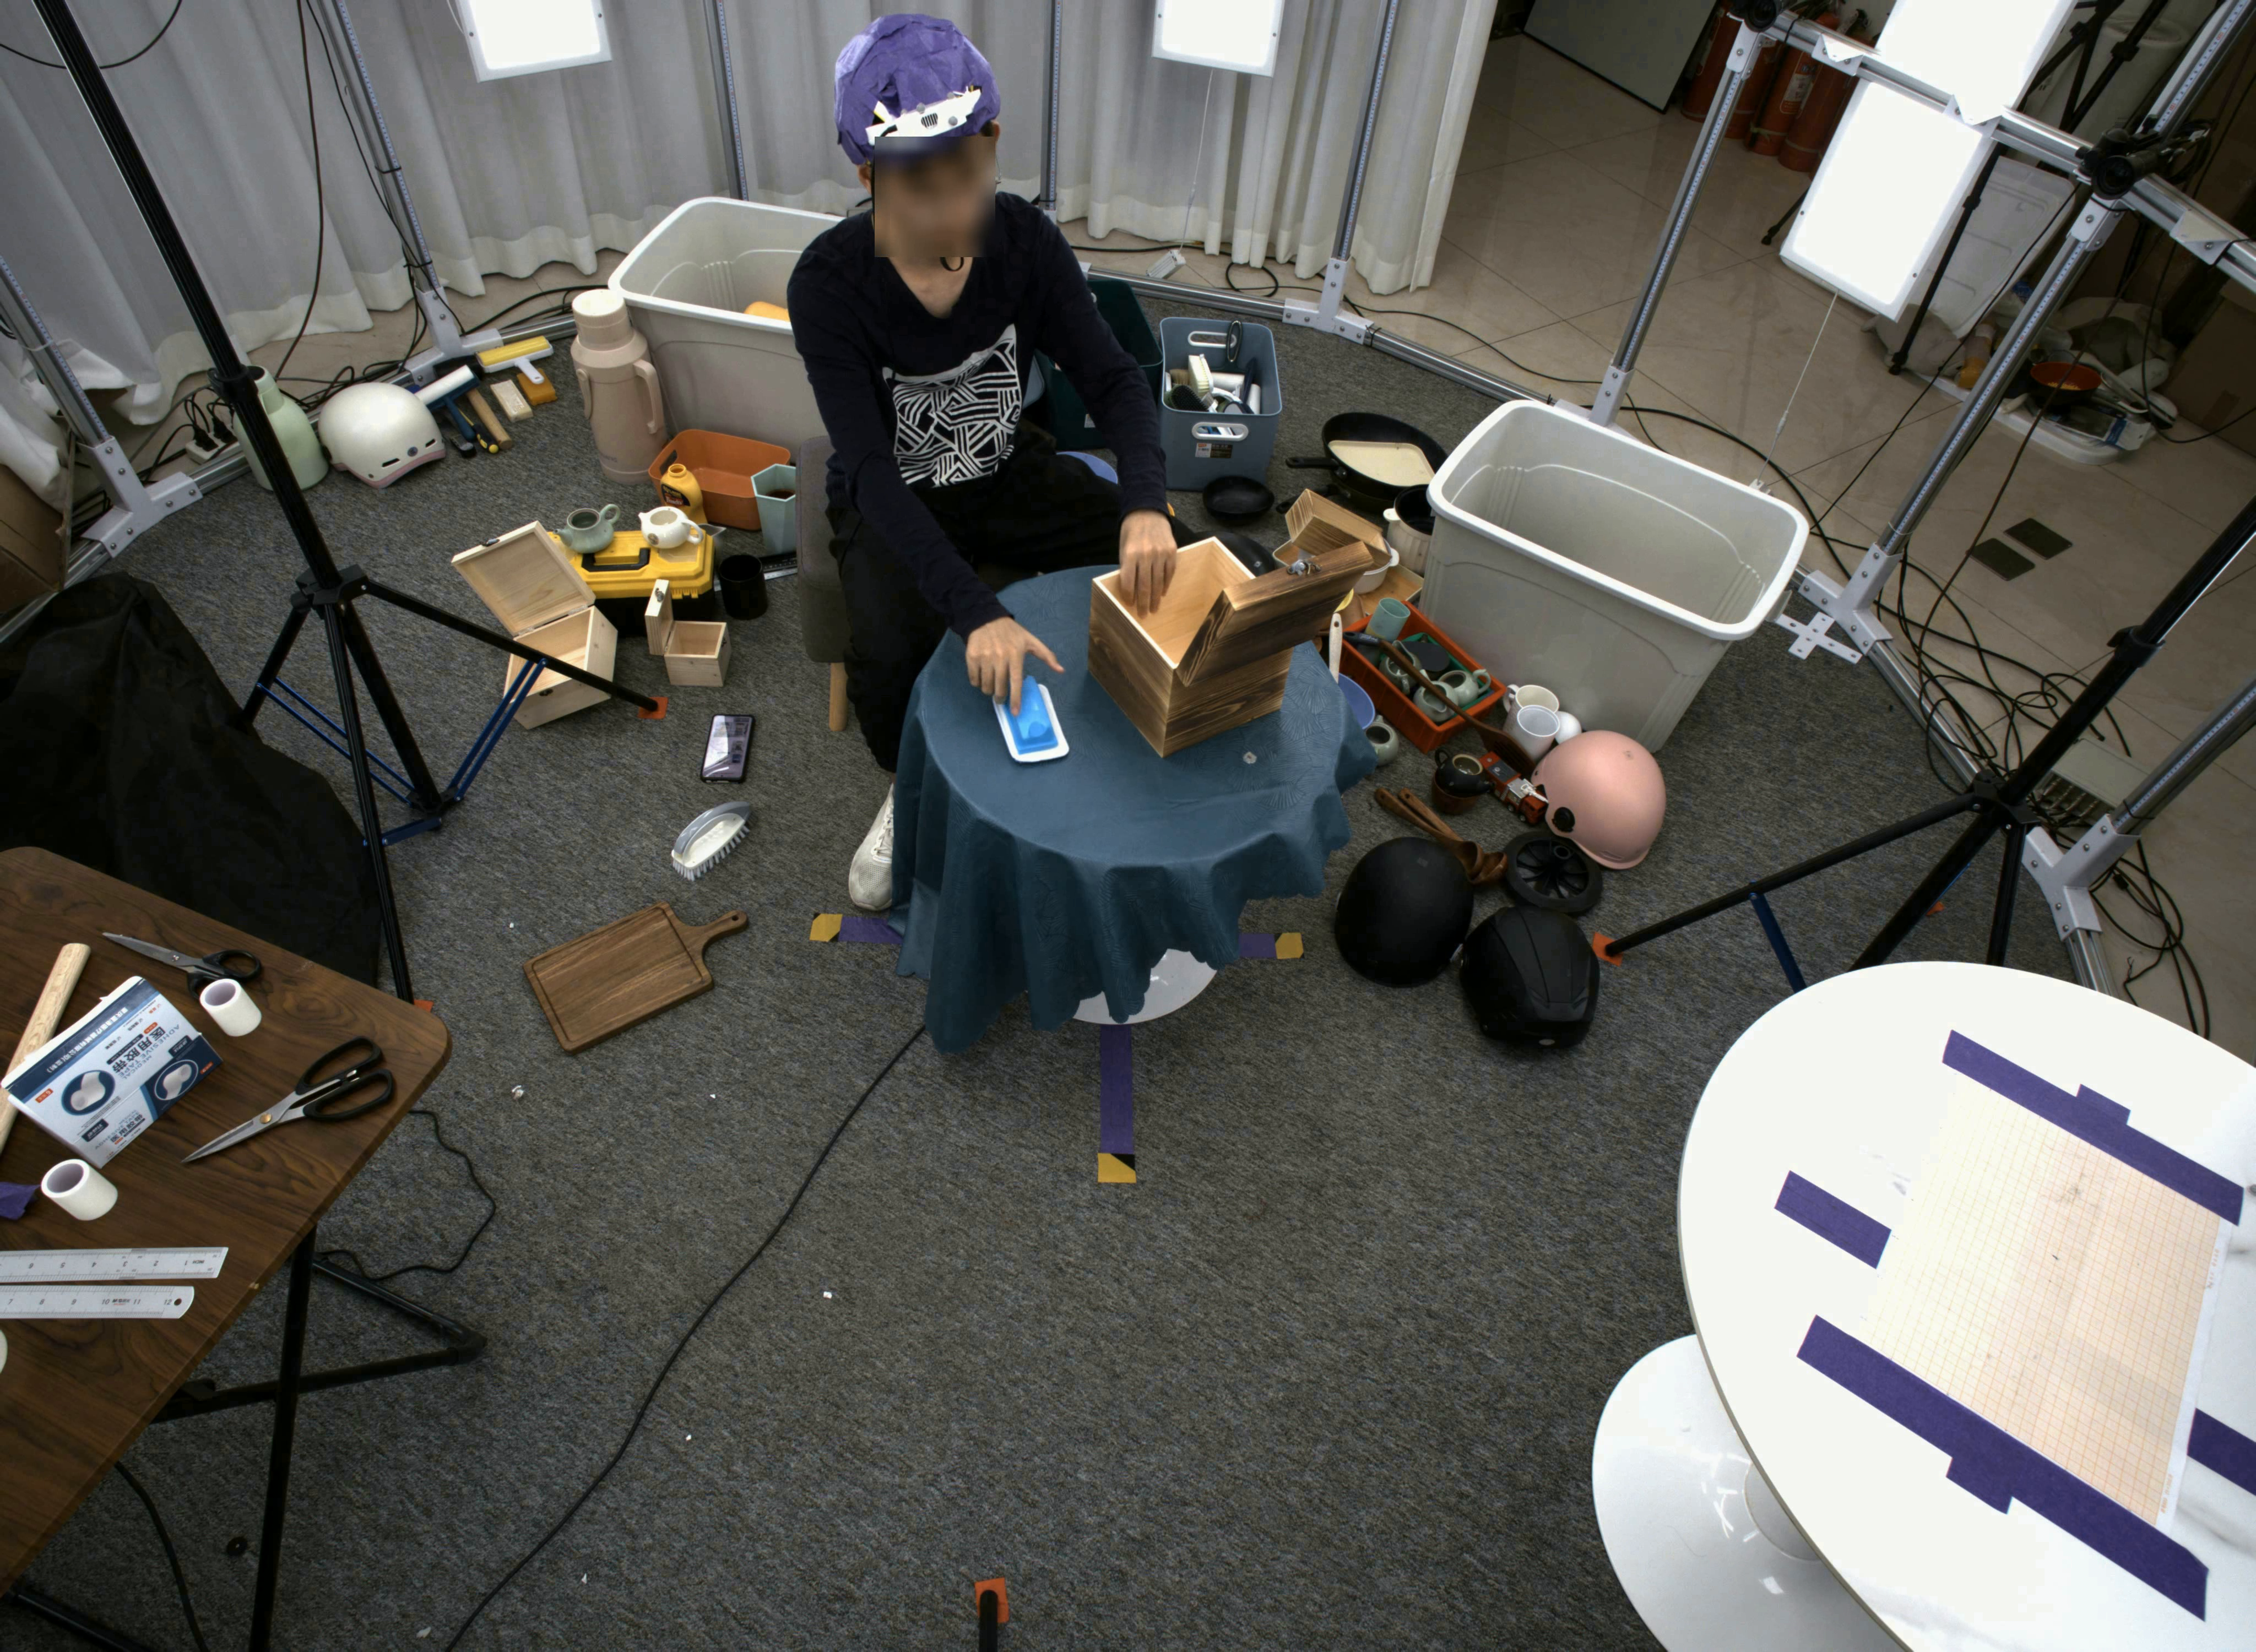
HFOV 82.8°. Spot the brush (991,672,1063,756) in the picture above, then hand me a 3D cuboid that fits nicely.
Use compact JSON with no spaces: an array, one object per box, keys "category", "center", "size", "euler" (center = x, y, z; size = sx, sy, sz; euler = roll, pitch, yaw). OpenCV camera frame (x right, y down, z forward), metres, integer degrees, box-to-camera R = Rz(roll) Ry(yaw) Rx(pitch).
[{"category":"brush","center":[-0.137,-0.161,1.760],"size":[0.084,0.054,0.147],"euler":[-7,51,-13]}]

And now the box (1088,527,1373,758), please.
[{"category":"box","center":[0.117,-0.280,1.684],"size":[0.209,0.366,0.329],"euler":[-23,54,-23]}]
